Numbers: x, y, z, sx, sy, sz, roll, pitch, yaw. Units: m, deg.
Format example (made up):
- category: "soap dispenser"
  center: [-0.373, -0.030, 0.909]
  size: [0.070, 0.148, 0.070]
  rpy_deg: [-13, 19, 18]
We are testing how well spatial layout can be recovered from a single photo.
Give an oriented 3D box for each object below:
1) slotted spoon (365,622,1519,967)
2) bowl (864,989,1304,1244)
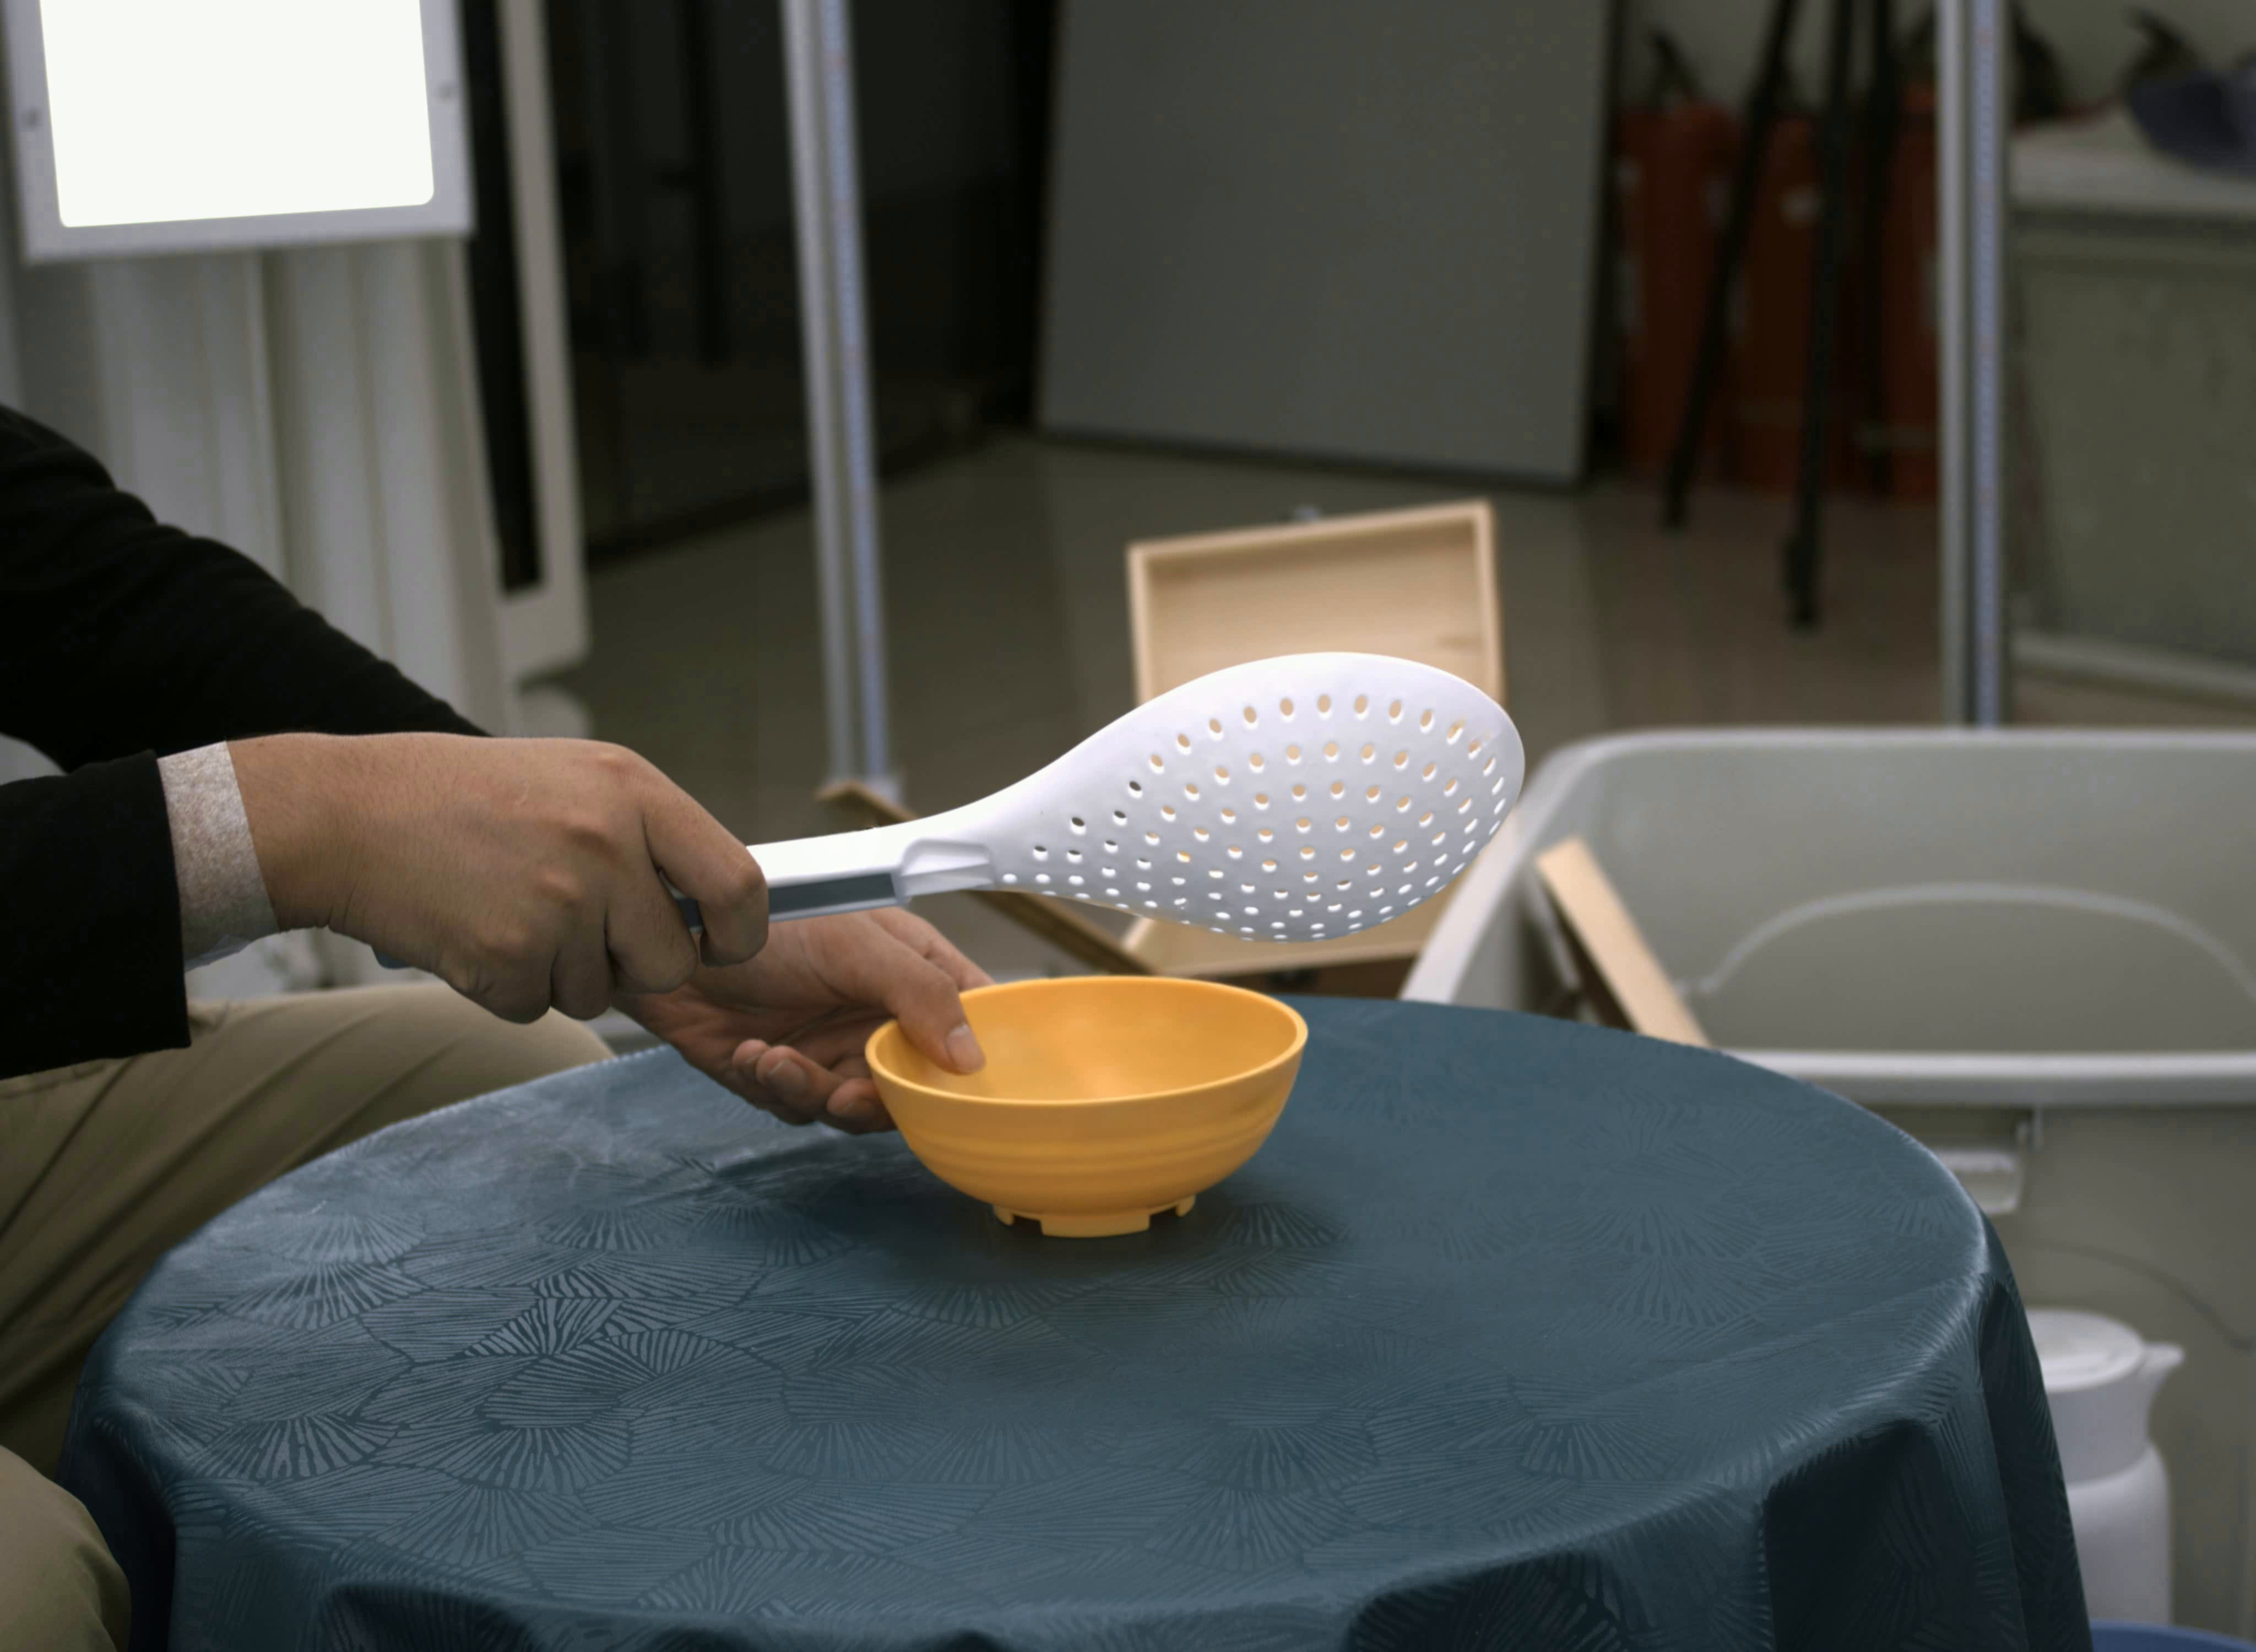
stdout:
- category: "slotted spoon"
  center: [-0.055, 0.004, 1.605]
  size: [0.346, 0.136, 0.046]
  rpy_deg: [-5, 54, 5]
- category: "bowl"
  center: [-0.014, 0.098, 1.748]
  size: [0.143, 0.061, 0.145]
  rpy_deg: [-2, 12, 0]
